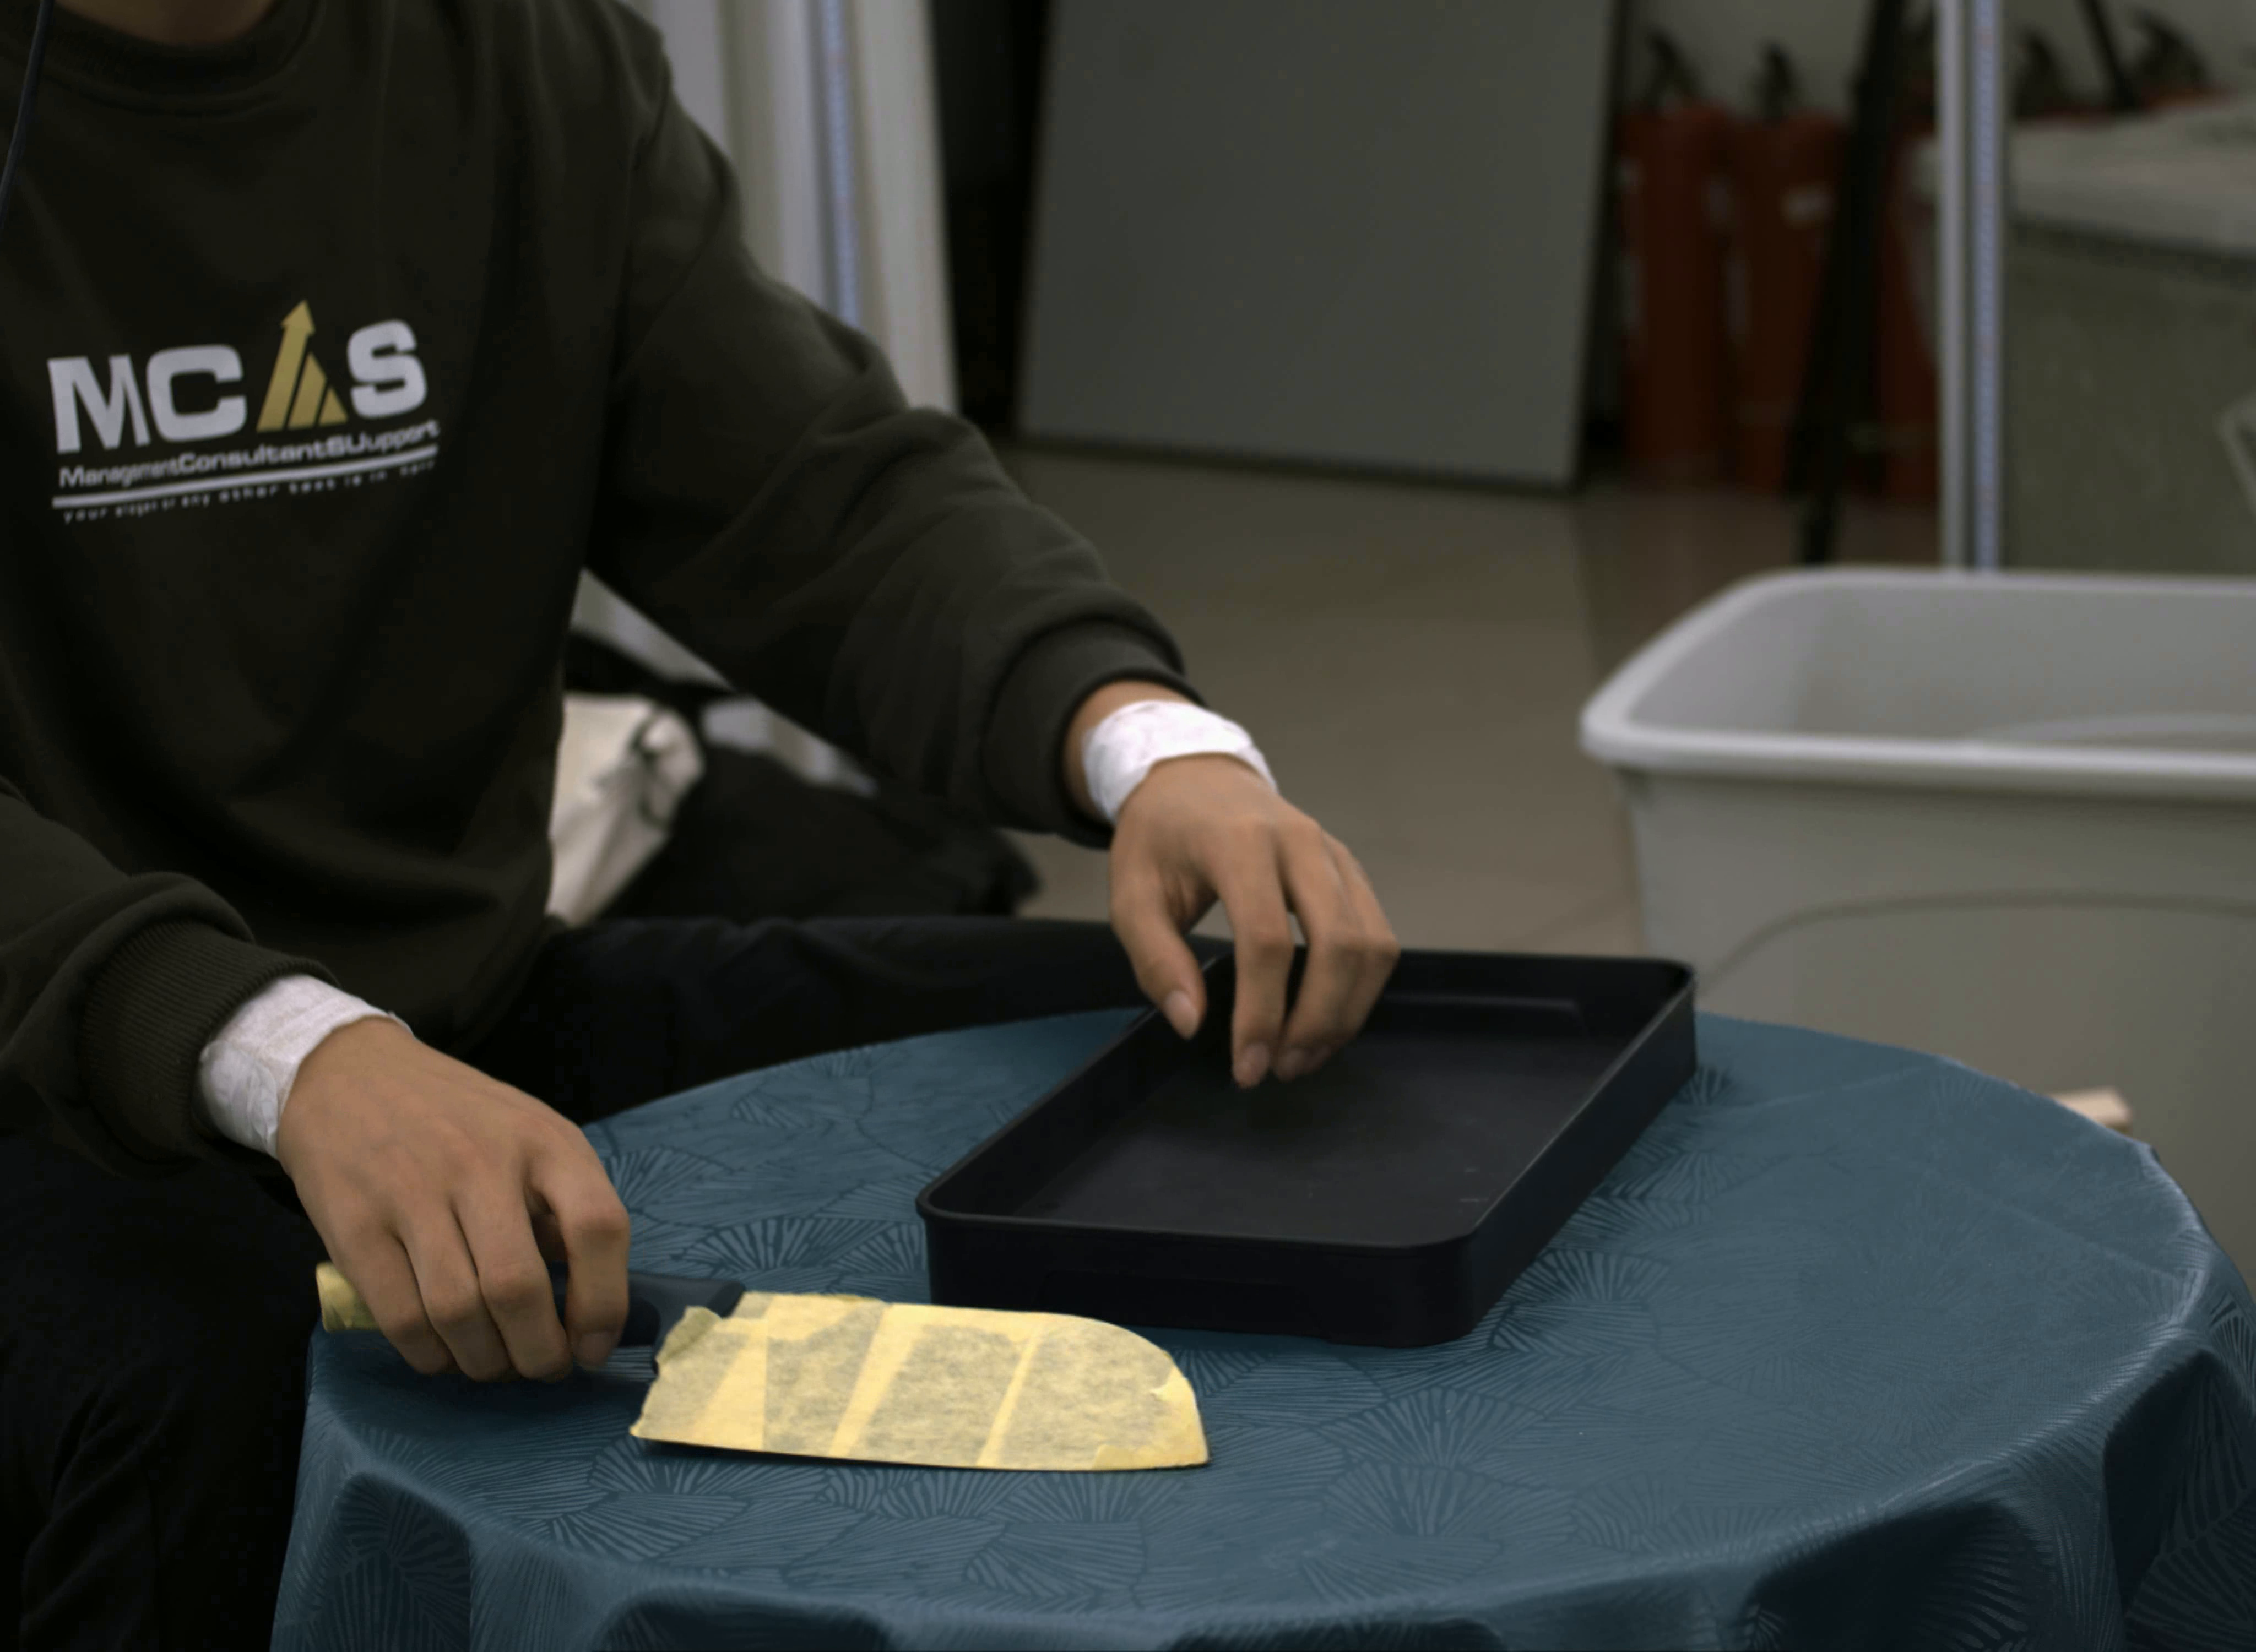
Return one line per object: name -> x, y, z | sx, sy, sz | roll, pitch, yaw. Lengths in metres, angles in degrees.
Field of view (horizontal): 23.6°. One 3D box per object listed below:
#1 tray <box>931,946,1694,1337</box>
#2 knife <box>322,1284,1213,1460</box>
tray -> 0.069, 0.098, 1.772 | 0.184, 0.037, 0.315 | 0, 14, 19
knife -> -0.110, 0.161, 1.584 | 0.289, 0.027, 0.080 | 2, 30, 20
